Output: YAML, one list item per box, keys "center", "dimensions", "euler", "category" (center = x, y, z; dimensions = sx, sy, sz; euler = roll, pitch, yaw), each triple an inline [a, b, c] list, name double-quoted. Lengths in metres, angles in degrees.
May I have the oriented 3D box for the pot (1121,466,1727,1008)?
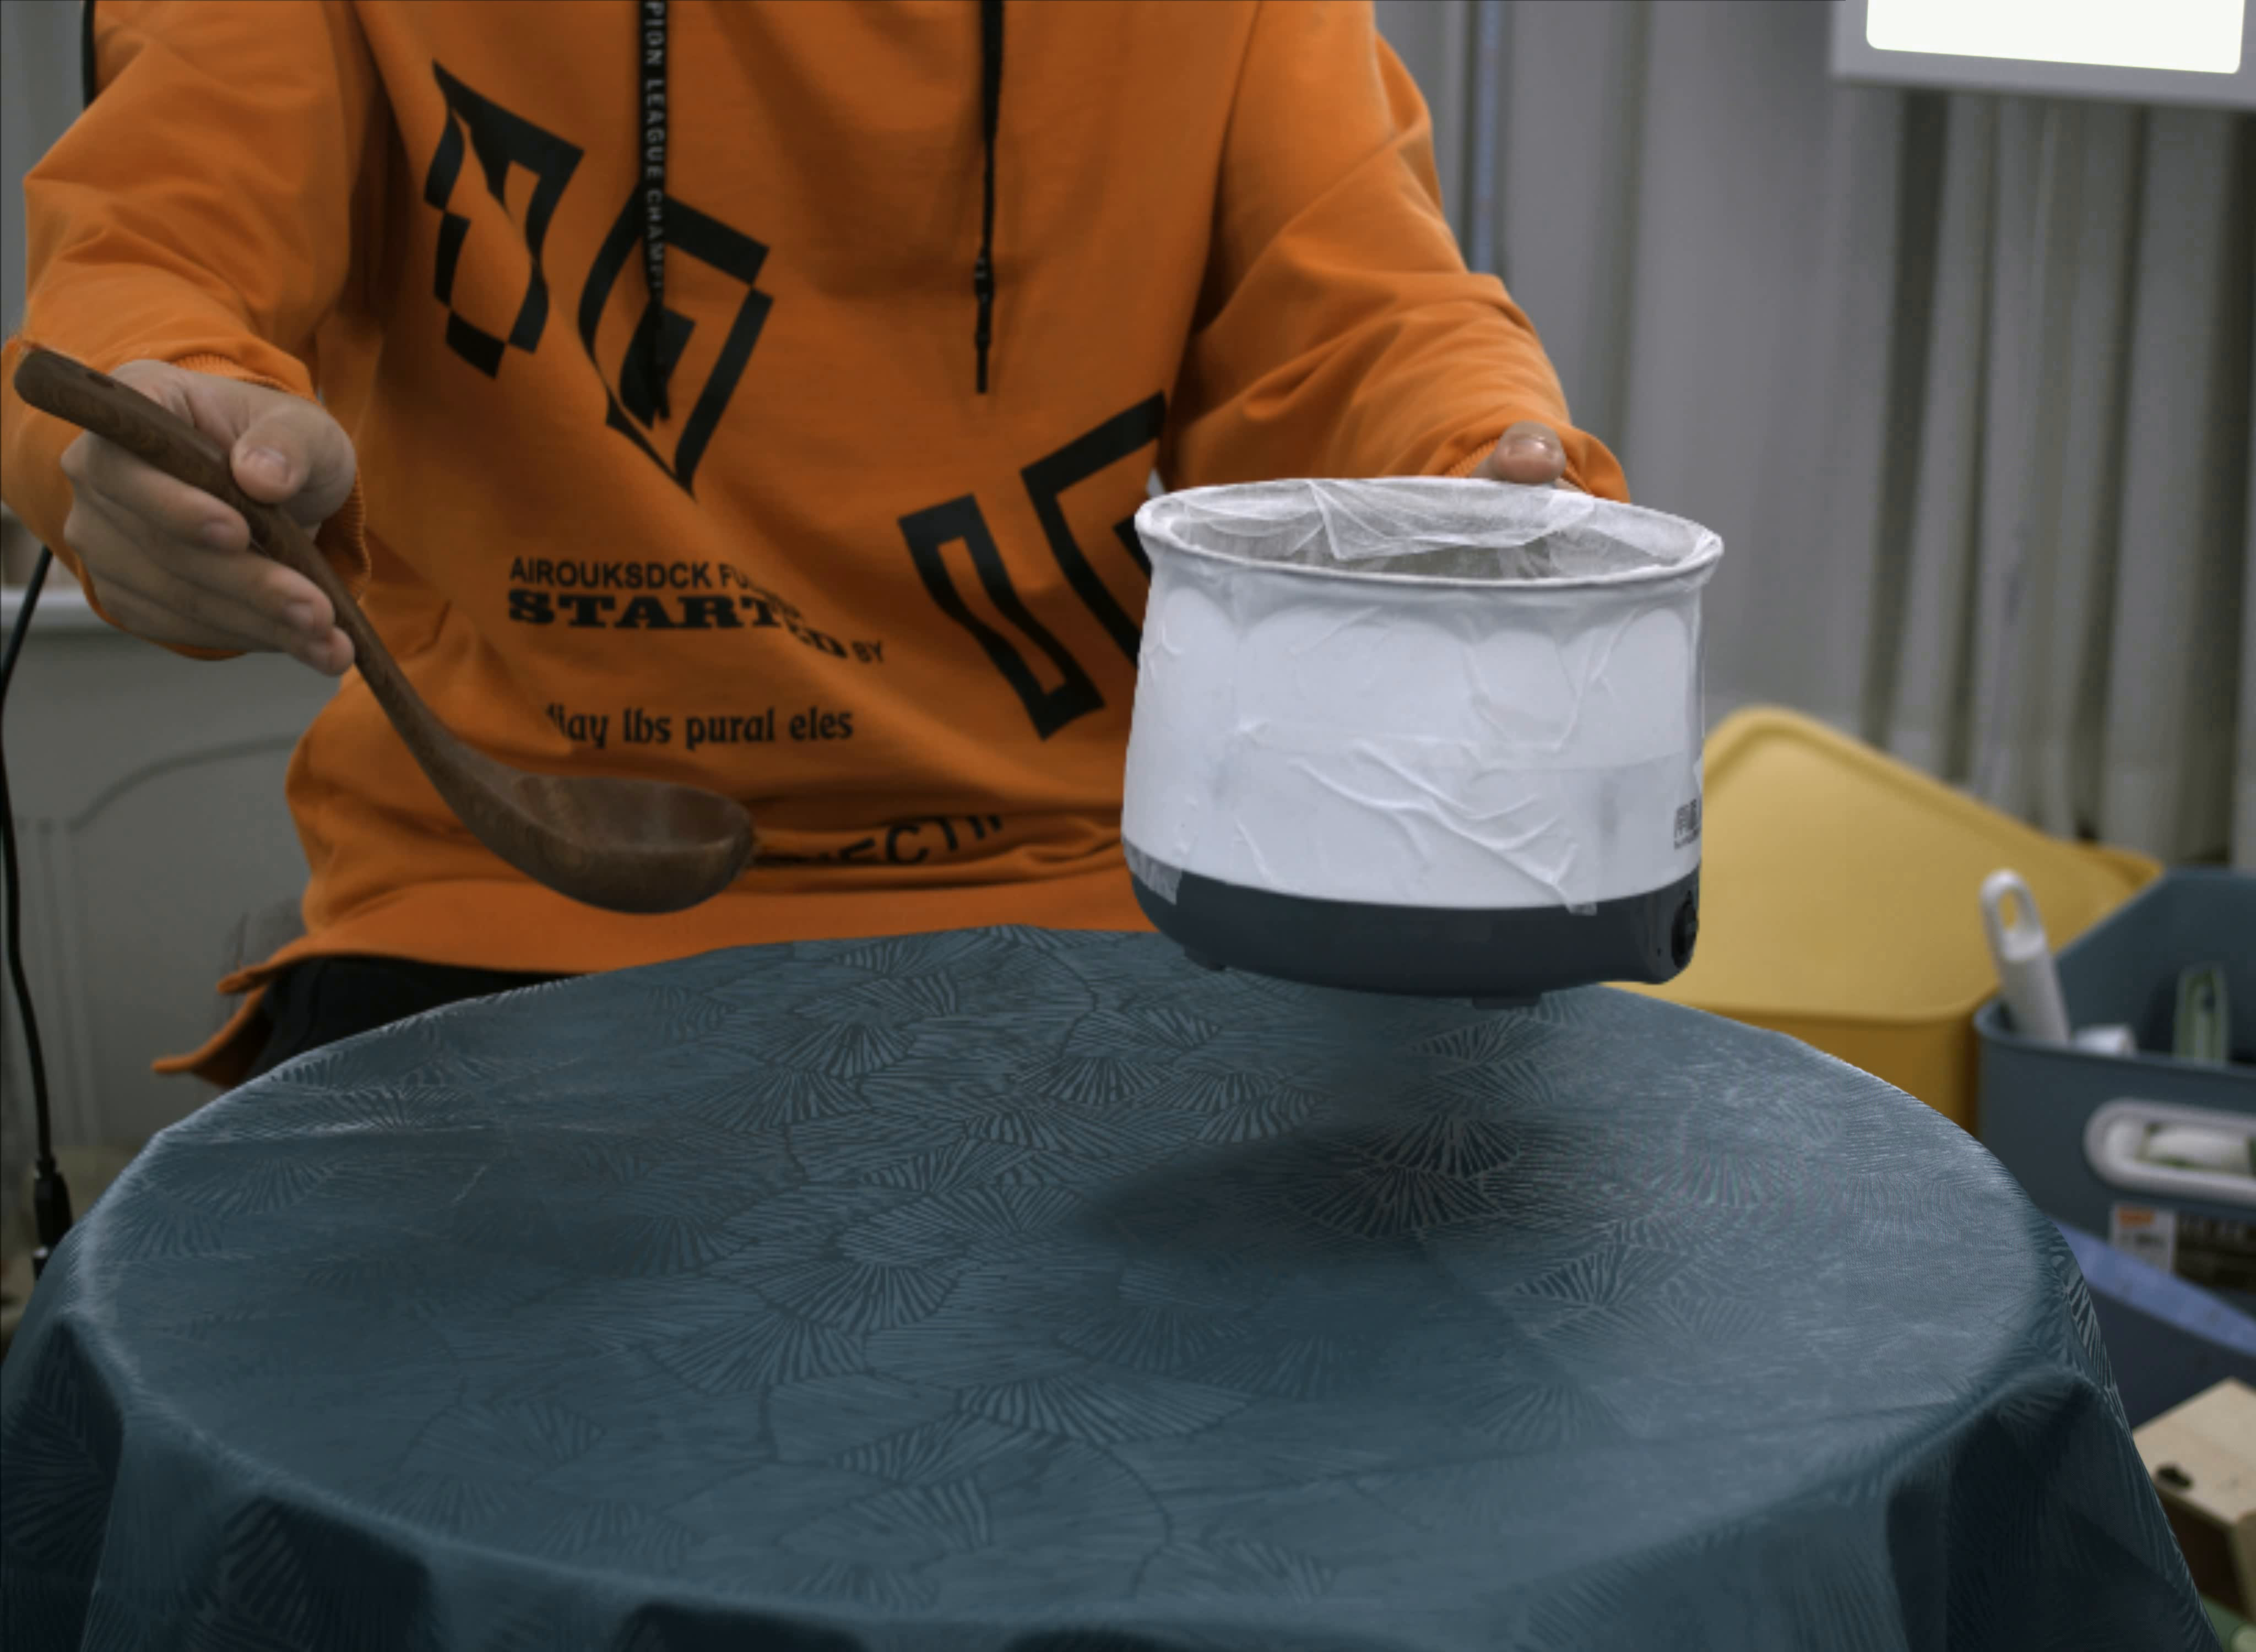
- center: [0.097, -0.034, 1.616]
  dimensions: [0.177, 0.137, 0.234]
  euler: [8, 14, 18]
  category: "pot"

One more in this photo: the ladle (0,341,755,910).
- center: [-0.217, -0.066, 1.552]
  dimensions: [0.065, 0.262, 0.076]
  euler: [-43, 16, 4]
  category: "ladle"
